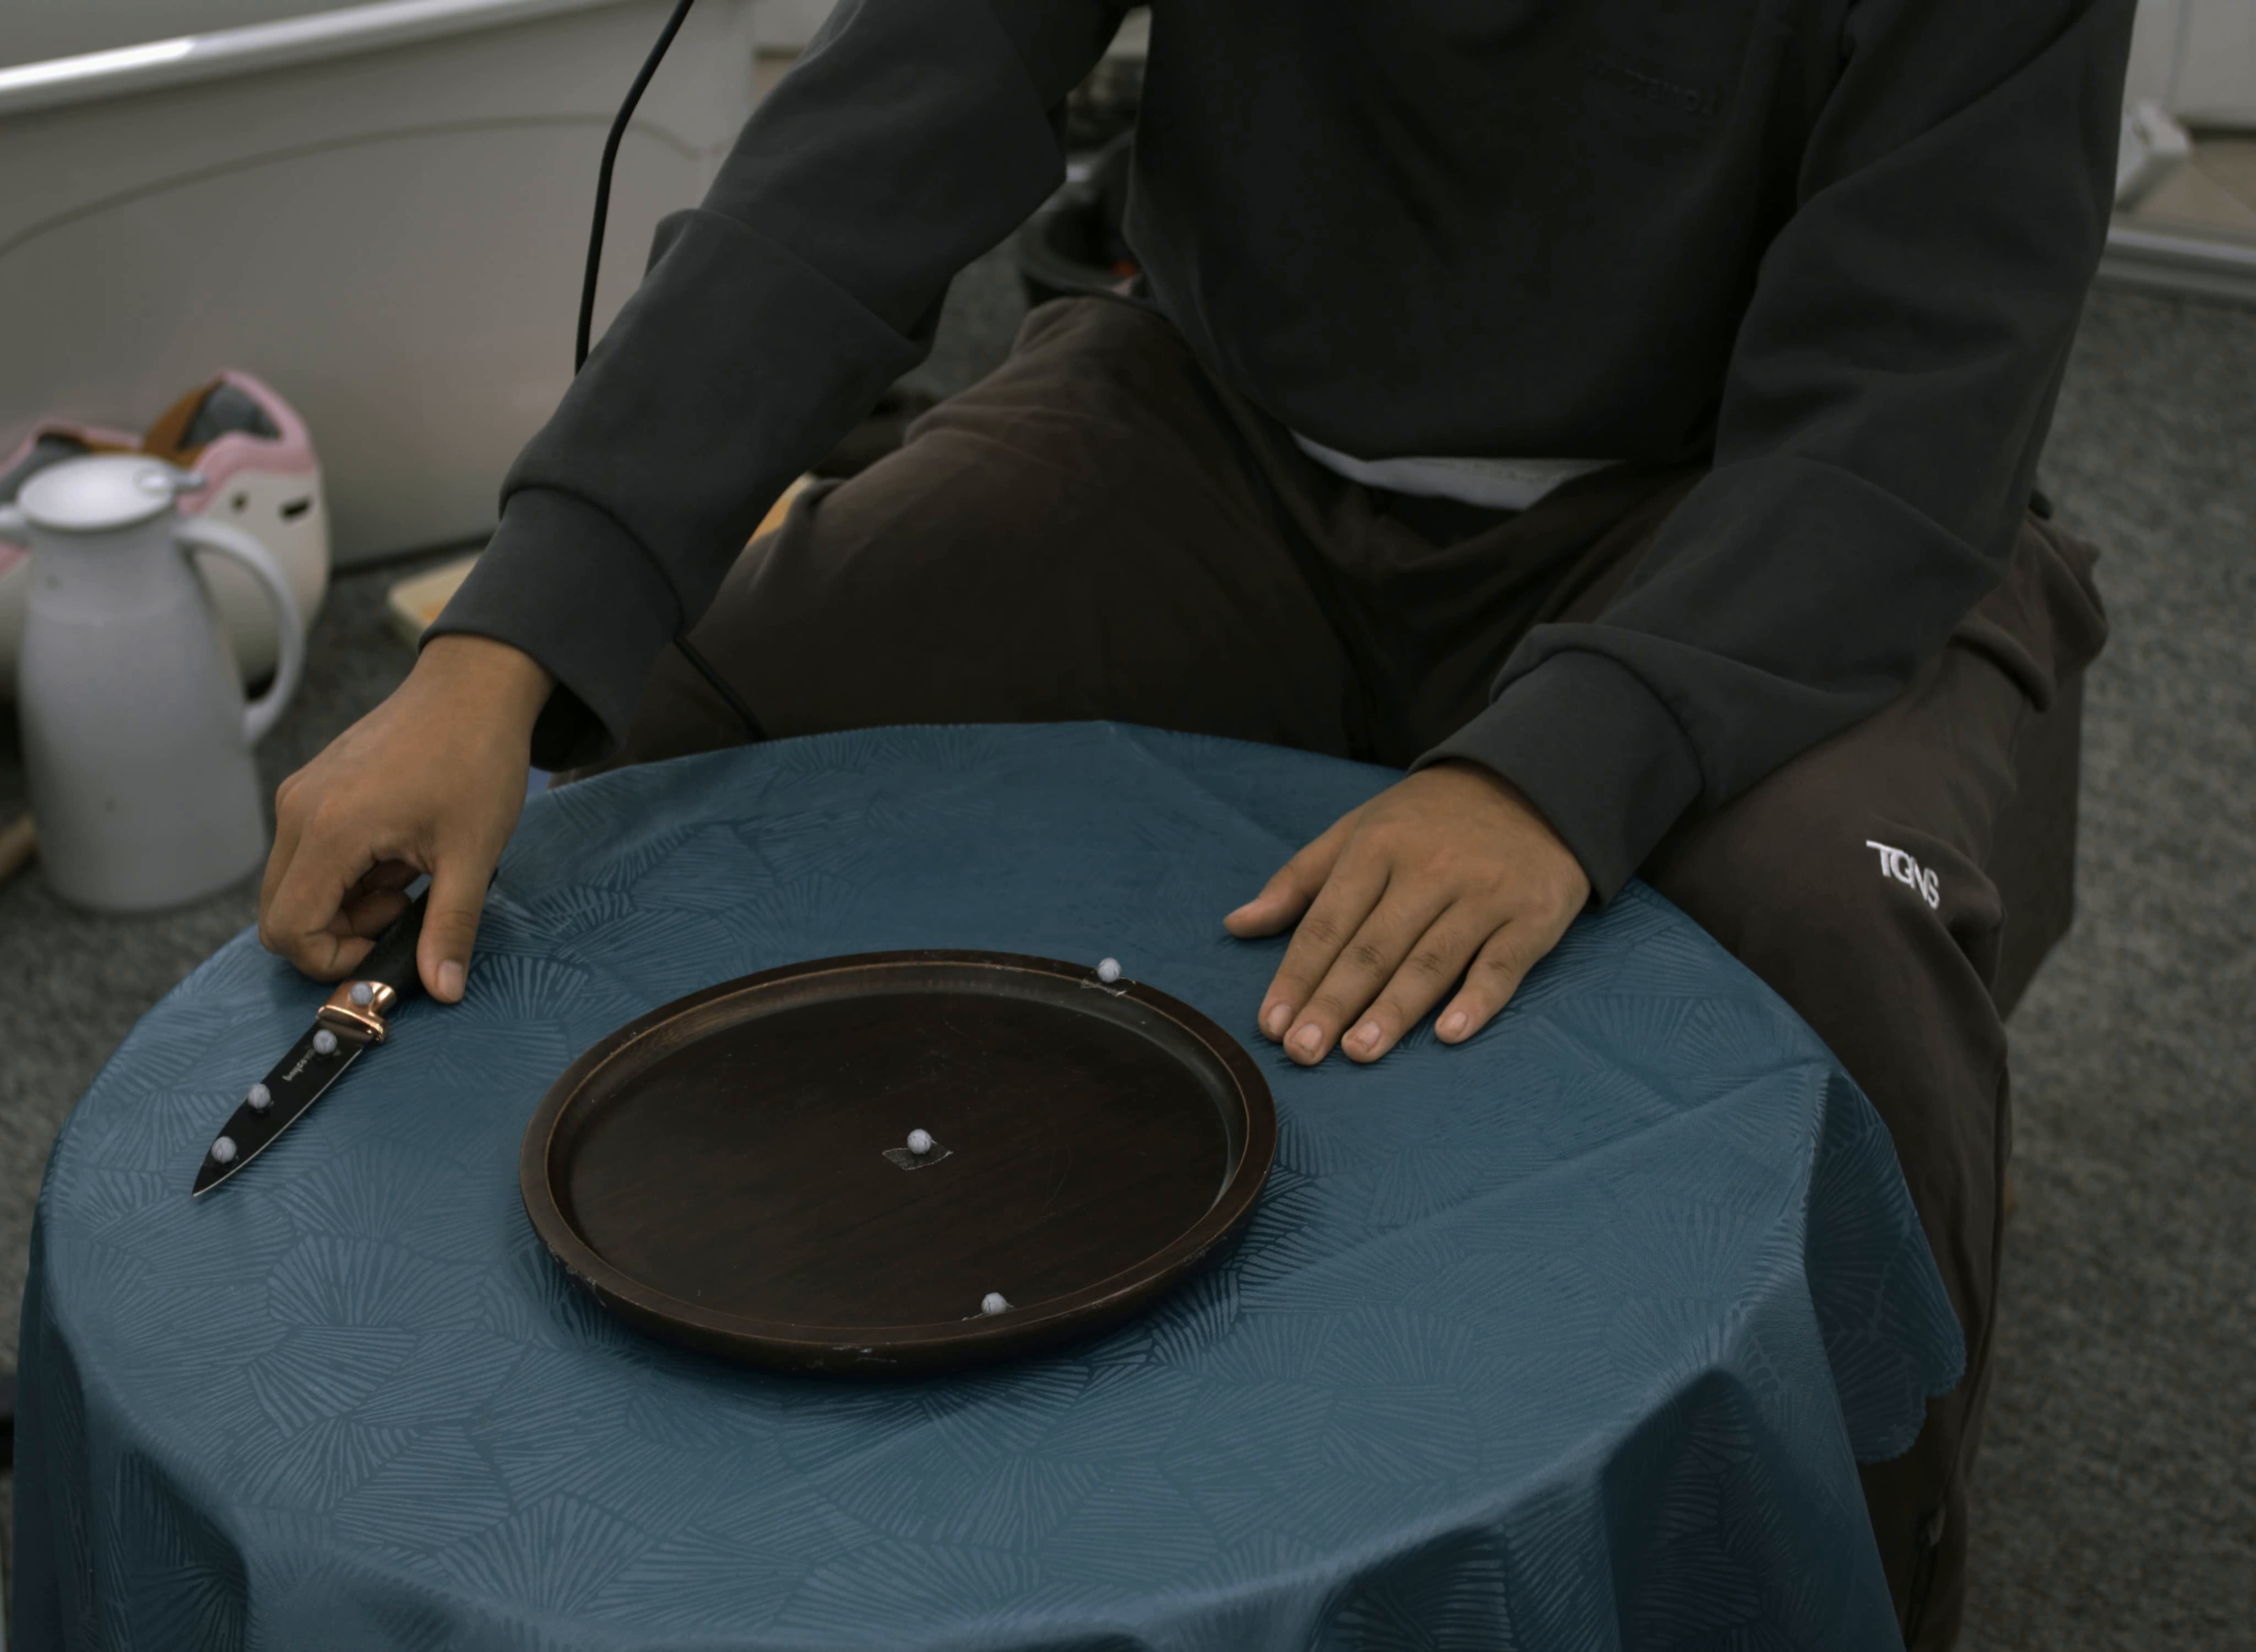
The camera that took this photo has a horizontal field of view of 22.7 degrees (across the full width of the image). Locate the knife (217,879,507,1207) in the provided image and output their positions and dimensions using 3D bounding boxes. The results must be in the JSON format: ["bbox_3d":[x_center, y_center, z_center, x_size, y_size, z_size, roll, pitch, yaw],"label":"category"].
[{"bbox_3d":[-0.271,0.075,1.968,0.026,0.017,0.229,16,31,13],"label":"knife"}]

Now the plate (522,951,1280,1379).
[{"bbox_3d":[-0.075,0.111,1.867,0.253,0.029,0.258,-2,26,1],"label":"plate"}]
